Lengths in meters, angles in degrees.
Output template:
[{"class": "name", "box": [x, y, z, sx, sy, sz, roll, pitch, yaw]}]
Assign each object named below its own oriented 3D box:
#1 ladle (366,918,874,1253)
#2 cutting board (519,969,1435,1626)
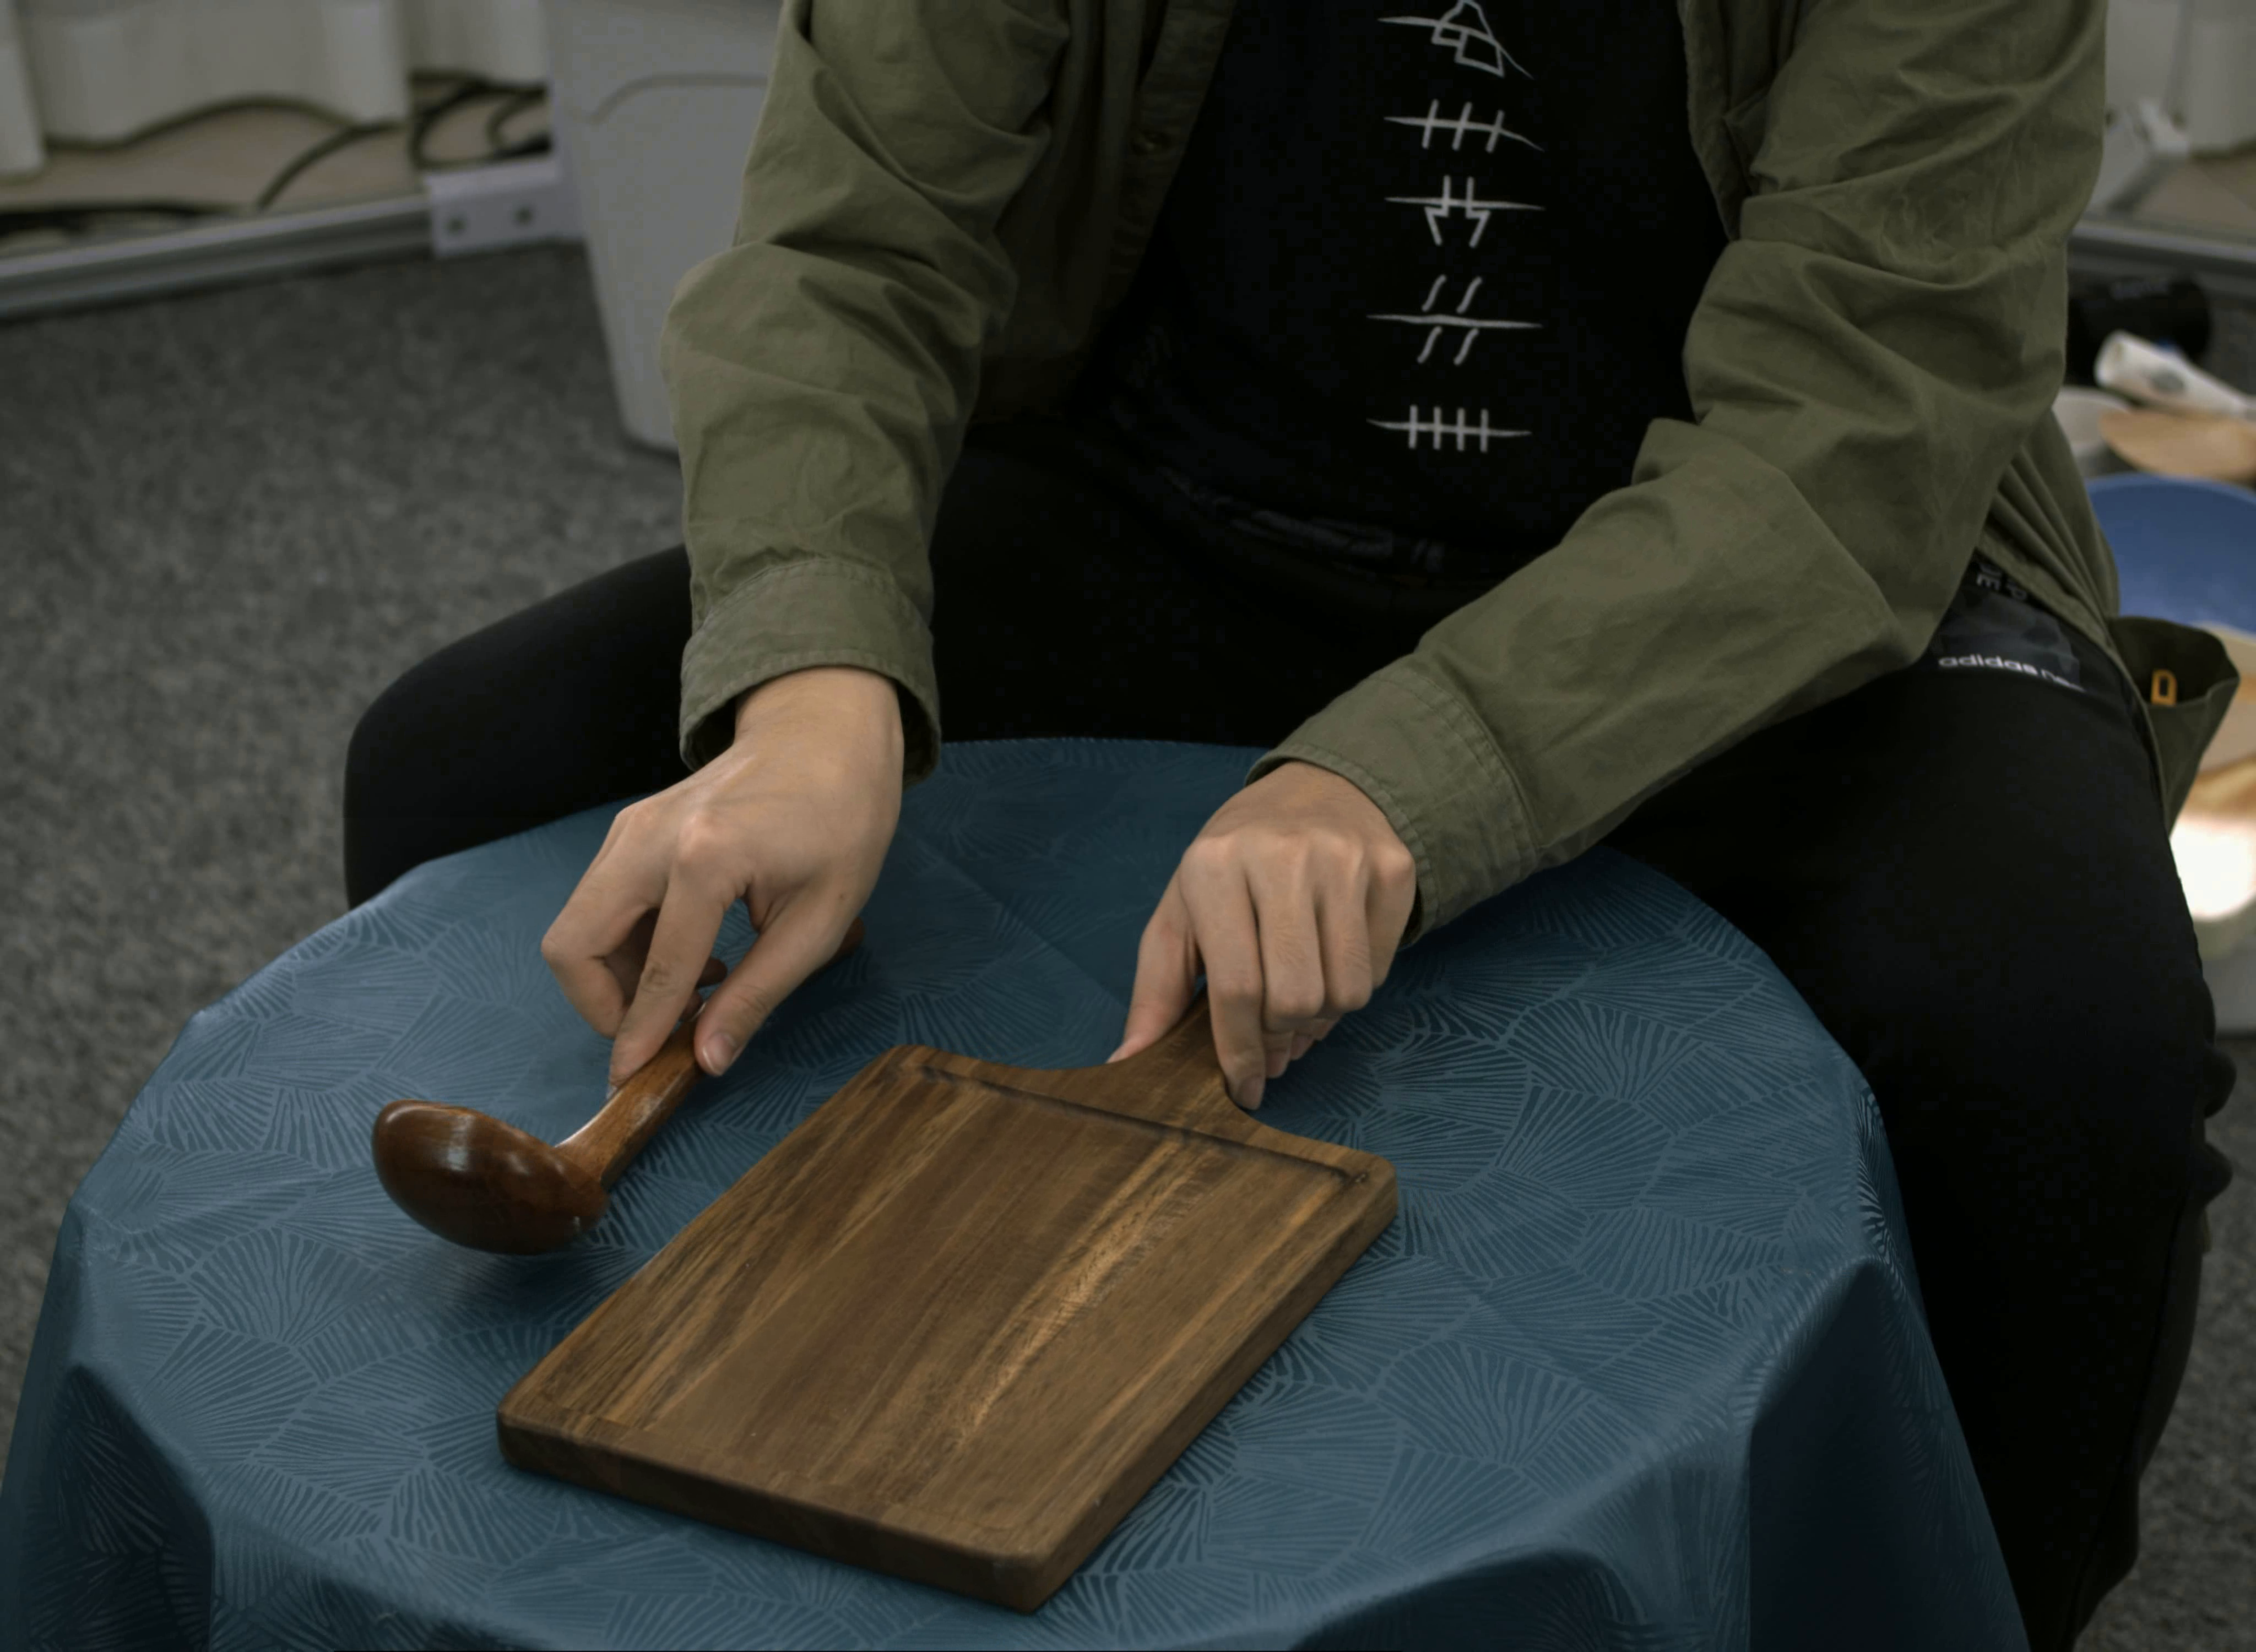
[{"class": "ladle", "box": [-0.162, 0.067, 1.897, 0.081, 0.075, 0.278, 17, 32, 20]}, {"class": "cutting board", "box": [-0.019, 0.134, 1.810, 0.200, 0.023, 0.358, 13, 31, 27]}]
